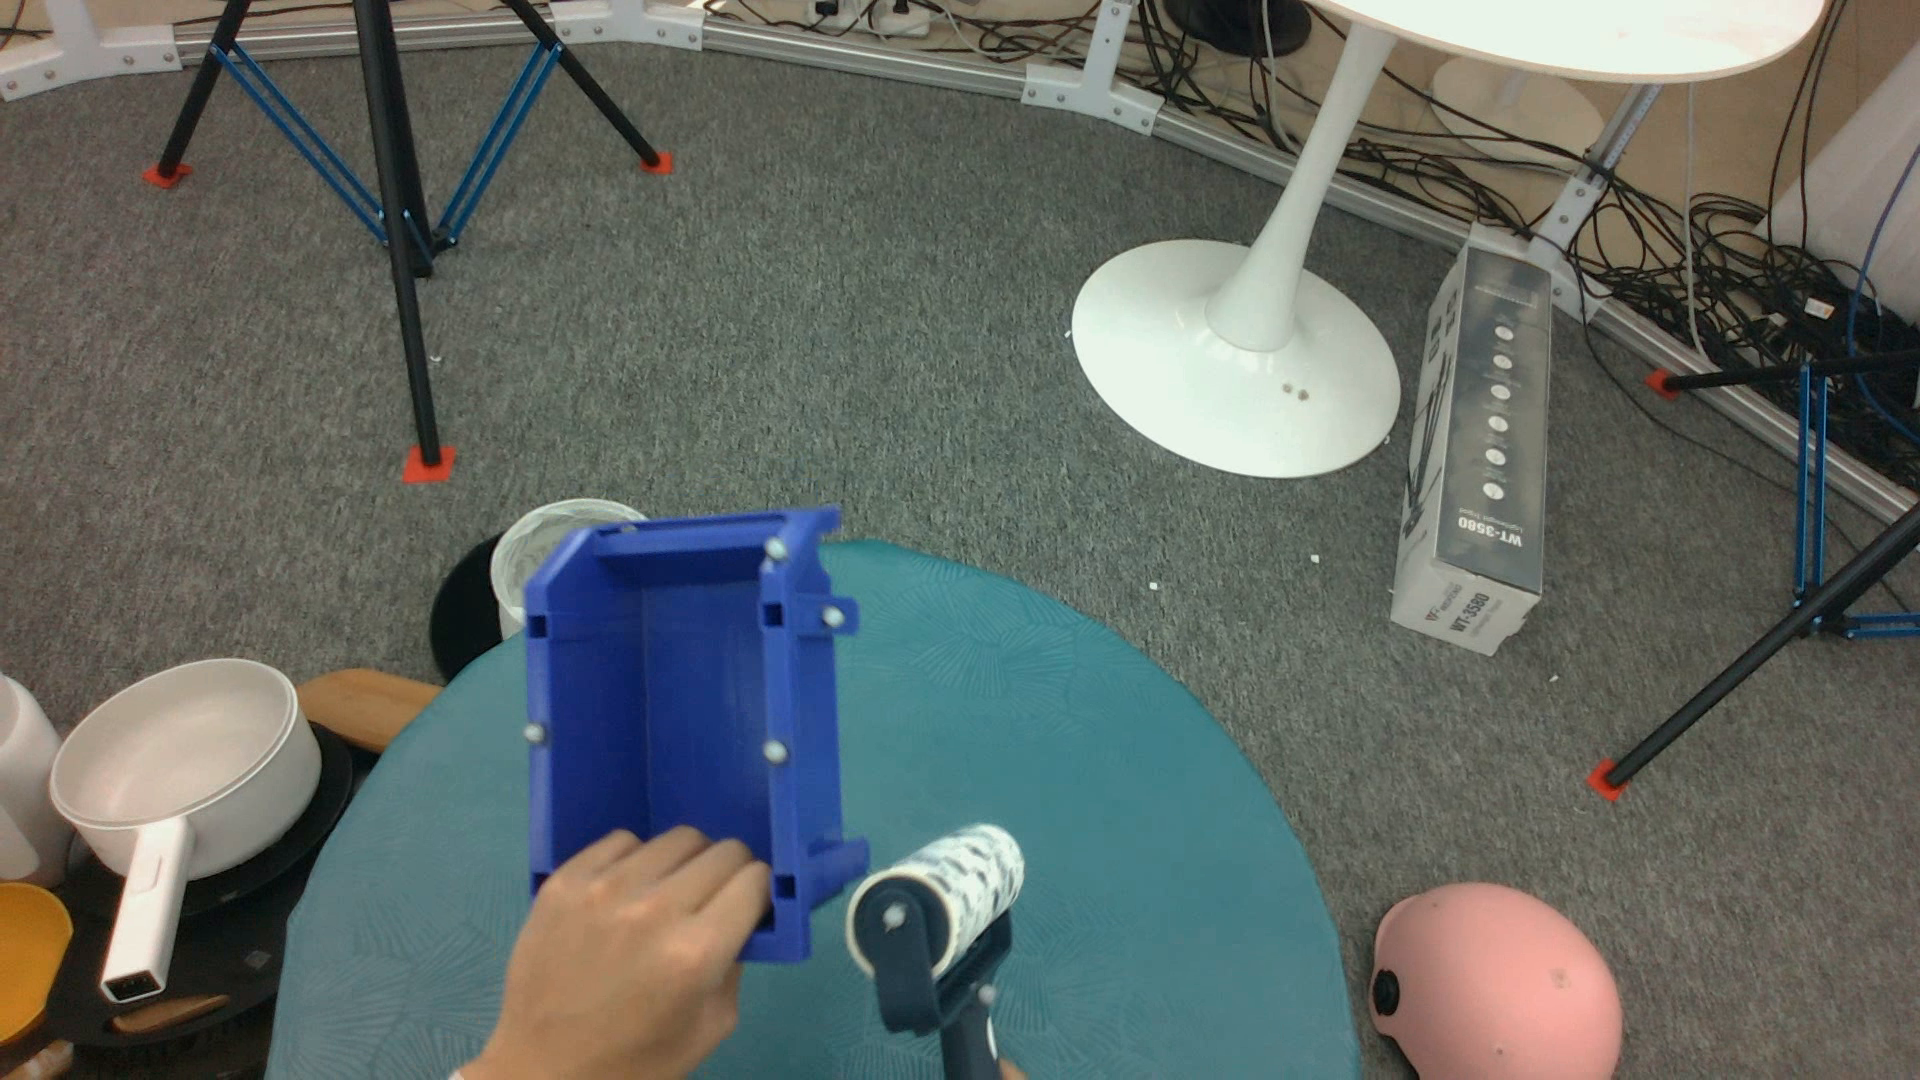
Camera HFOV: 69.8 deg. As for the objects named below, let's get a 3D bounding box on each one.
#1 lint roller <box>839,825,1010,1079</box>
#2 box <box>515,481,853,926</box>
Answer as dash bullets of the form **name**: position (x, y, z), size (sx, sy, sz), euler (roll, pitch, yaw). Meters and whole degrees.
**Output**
- **lint roller**: position (0.008, 0.257, 0.614), size (0.050, 0.176, 0.247), euler (-13, 83, 9)
- **box**: position (-0.120, 0.065, 0.596), size (0.124, 0.082, 0.179), euler (-3, 88, 16)
